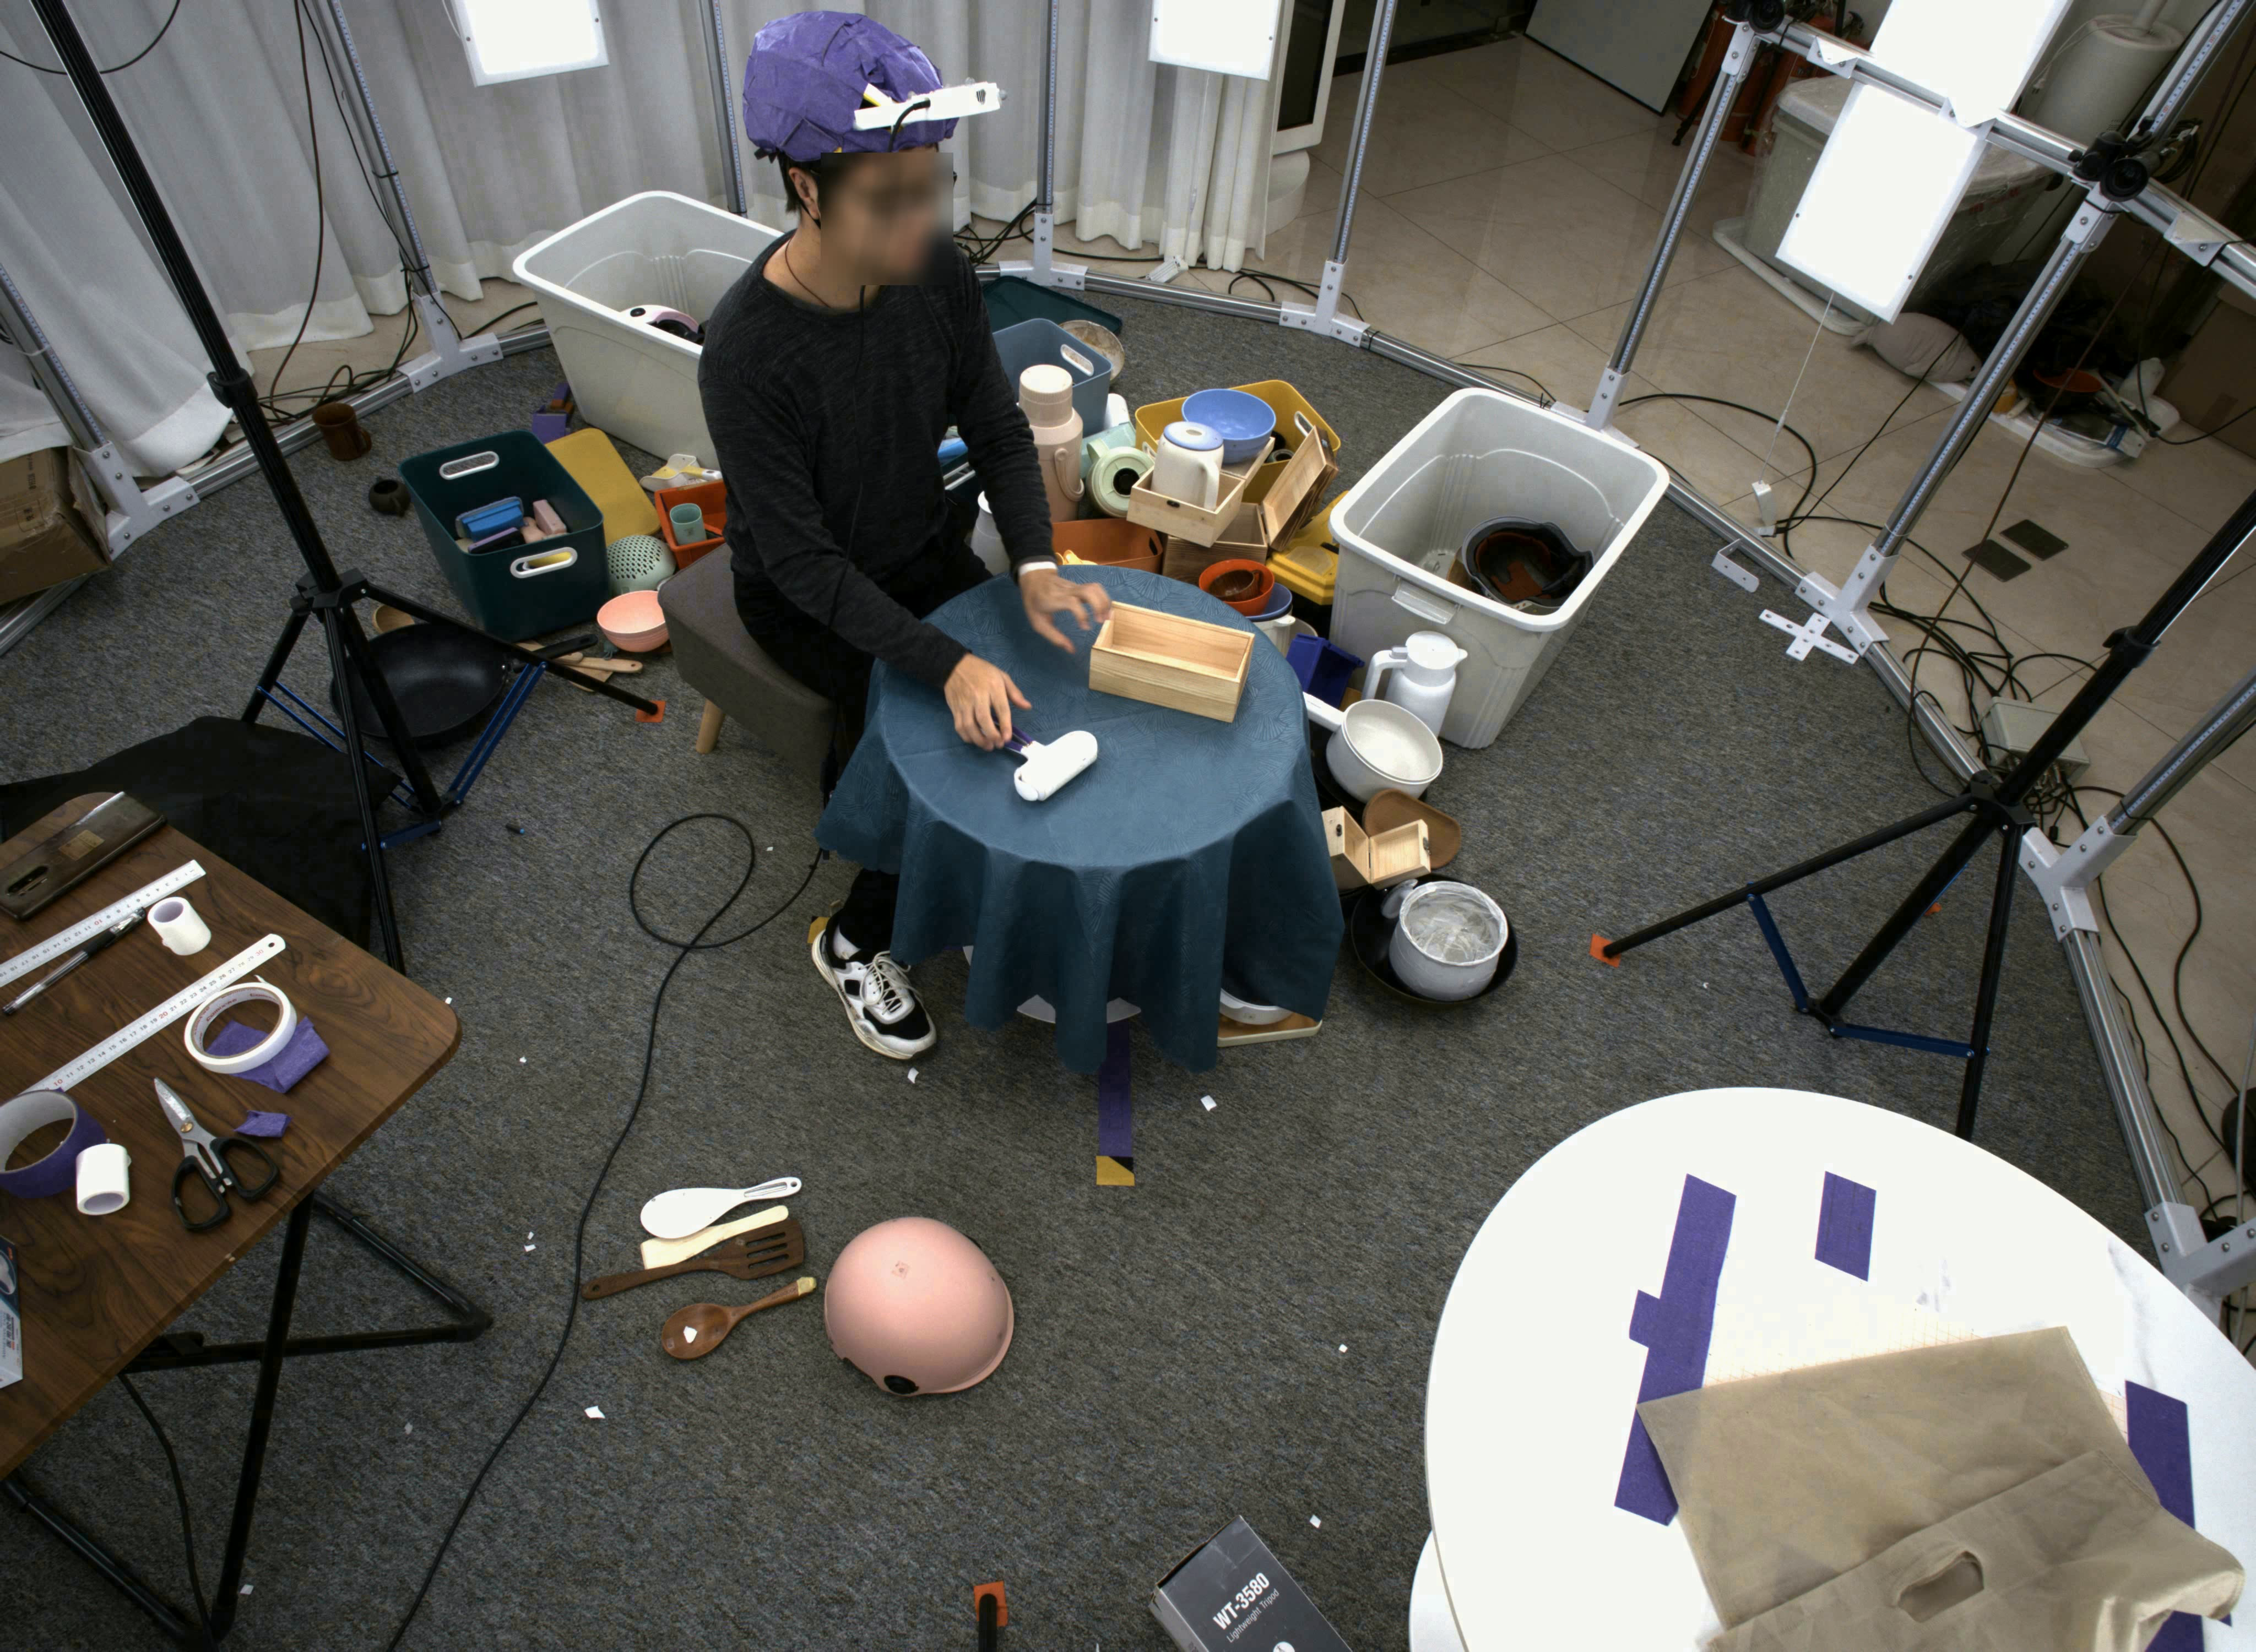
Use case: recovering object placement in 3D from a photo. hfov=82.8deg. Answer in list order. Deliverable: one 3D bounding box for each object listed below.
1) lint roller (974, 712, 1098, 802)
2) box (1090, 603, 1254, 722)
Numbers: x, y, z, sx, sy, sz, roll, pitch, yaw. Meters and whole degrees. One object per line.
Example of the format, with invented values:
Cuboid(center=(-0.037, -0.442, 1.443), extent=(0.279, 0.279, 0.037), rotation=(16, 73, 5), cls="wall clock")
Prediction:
Cuboid(center=(-0.139, -0.116, 1.731), extent=(0.183, 0.049, 0.134), rotation=(38, 58, 23), cls="lint roller")
Cuboid(center=(0.062, -0.234, 1.826), extent=(0.212, 0.078, 0.110), rotation=(13, 50, 9), cls="box")
